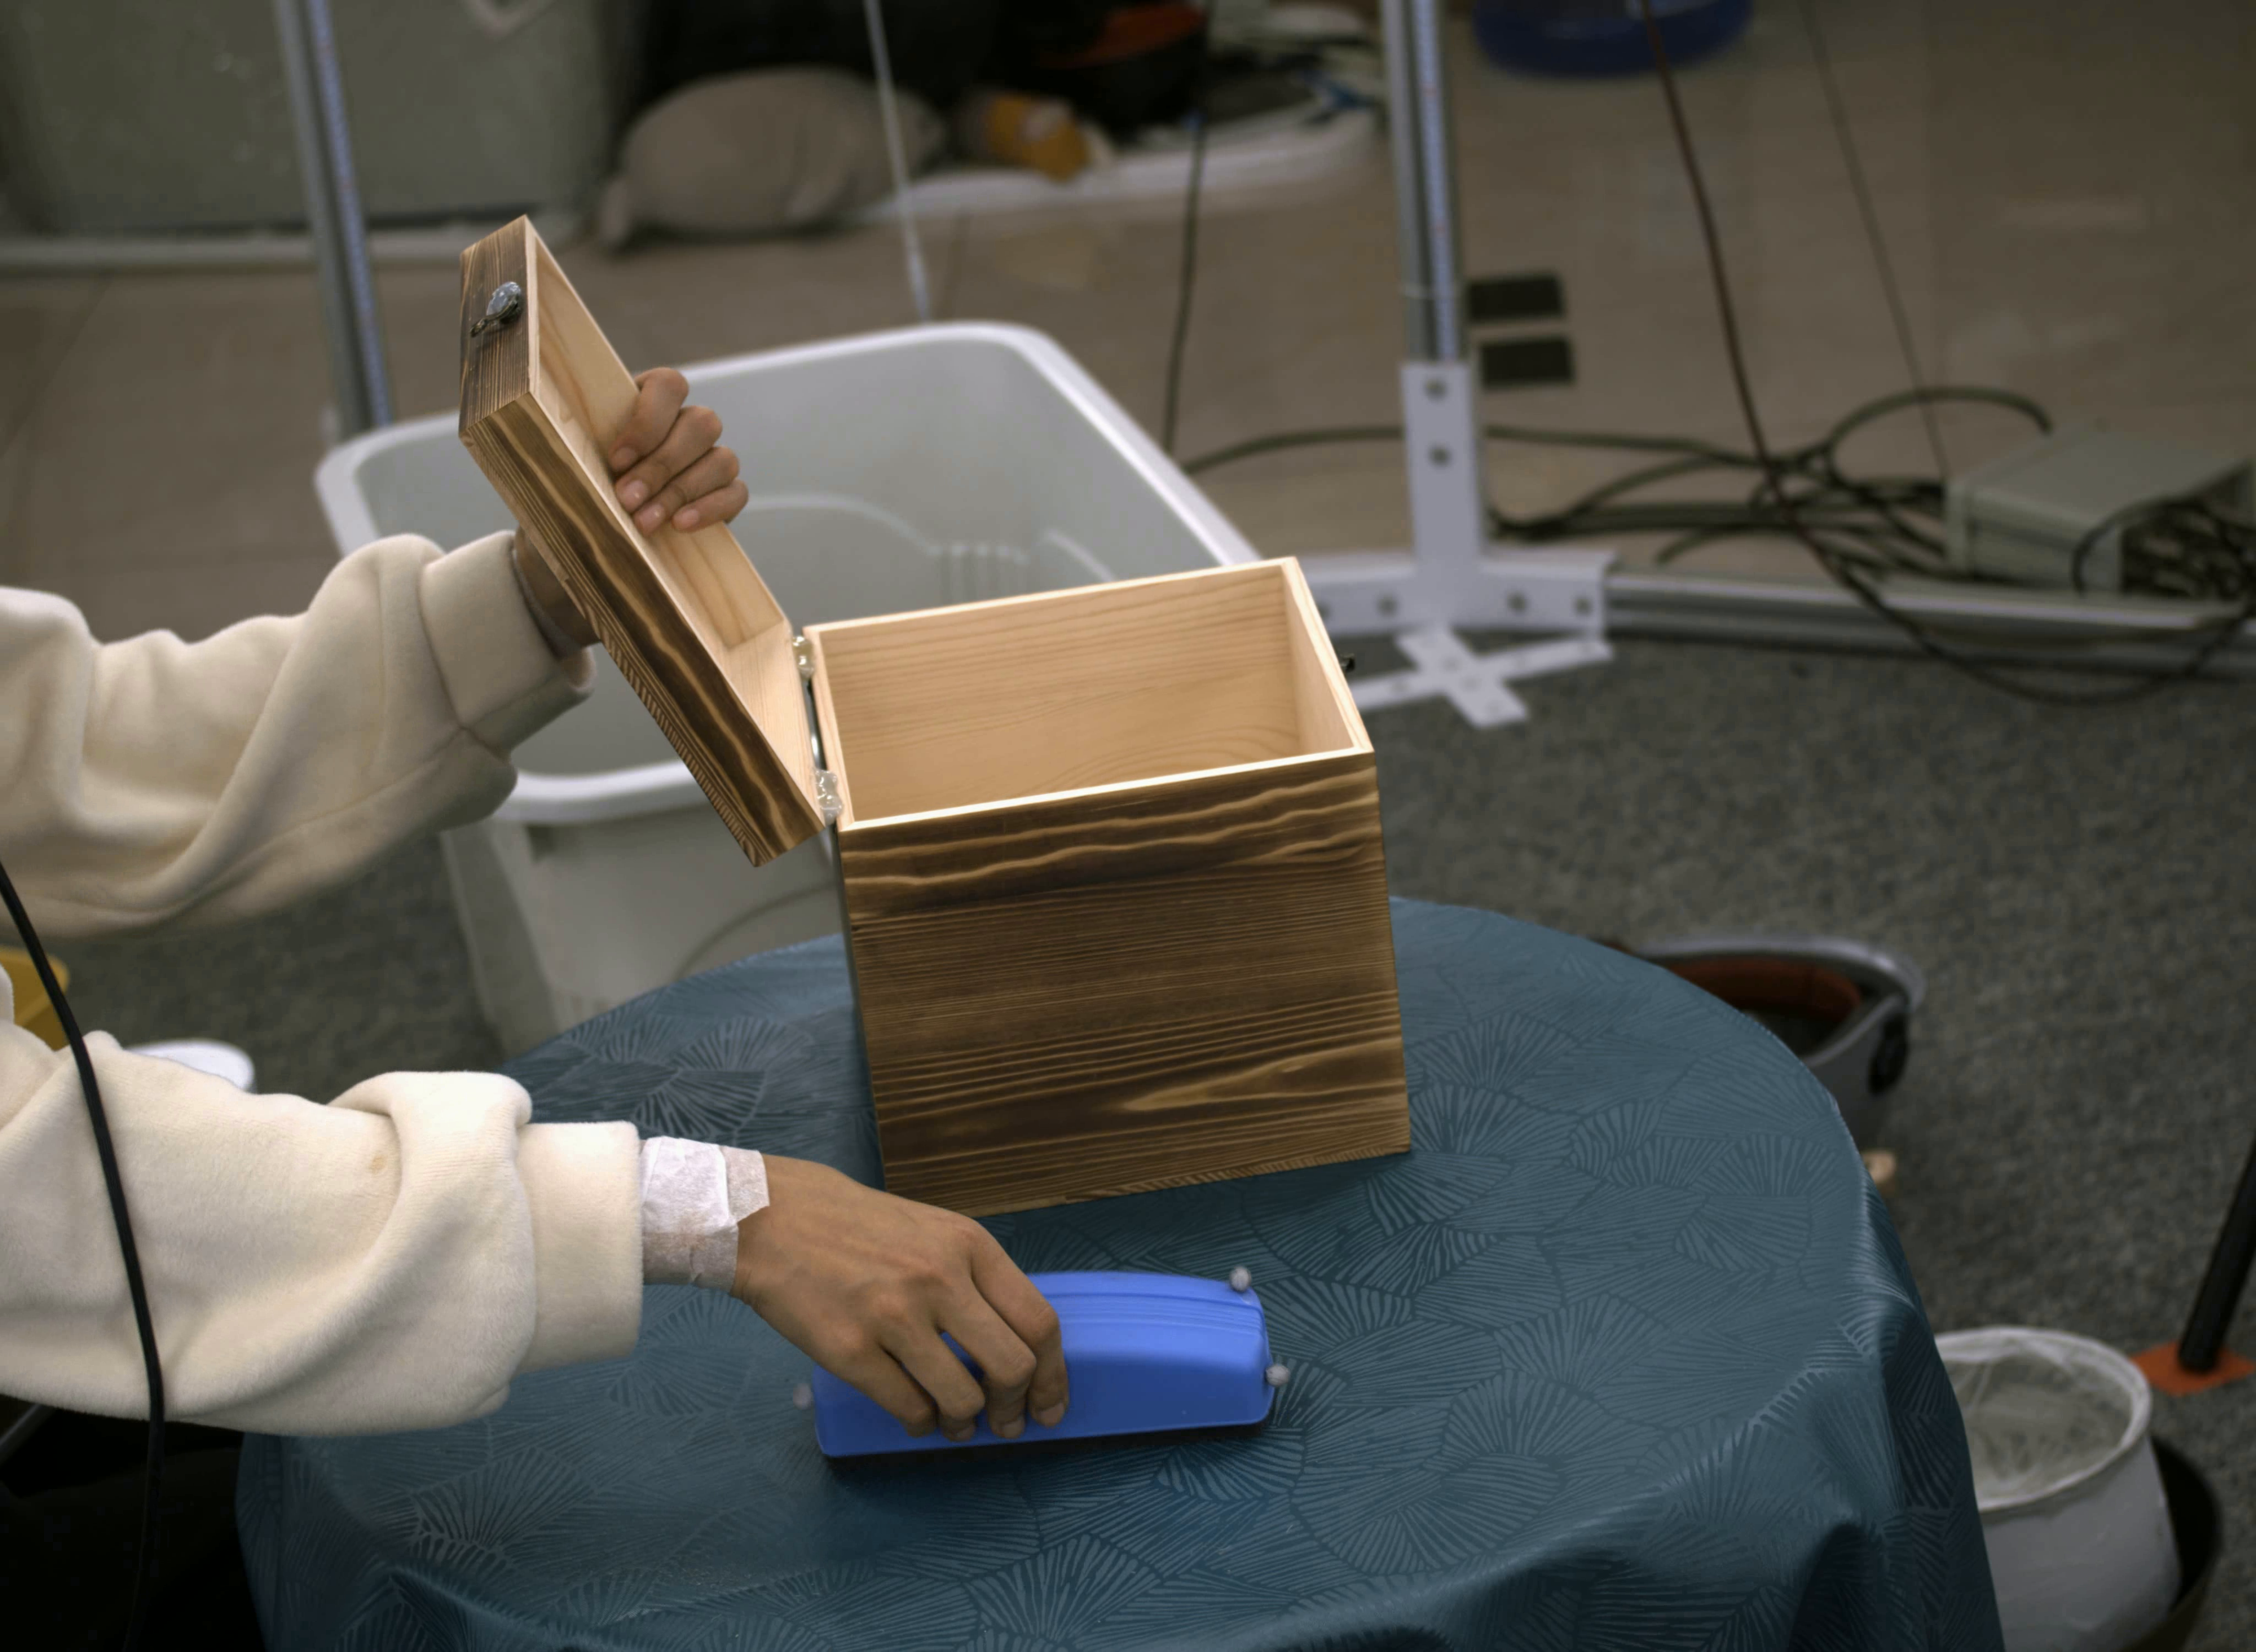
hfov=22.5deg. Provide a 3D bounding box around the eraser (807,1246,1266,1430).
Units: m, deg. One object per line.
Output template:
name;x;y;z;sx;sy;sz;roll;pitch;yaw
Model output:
eraser;-0.033;0.179;1.993;0.162;0.048;0.053;-1;37;4

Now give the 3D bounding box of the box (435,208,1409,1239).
box;-0.072;-0.053;2.151;0.321;0.381;0.205;-10;27;-3
